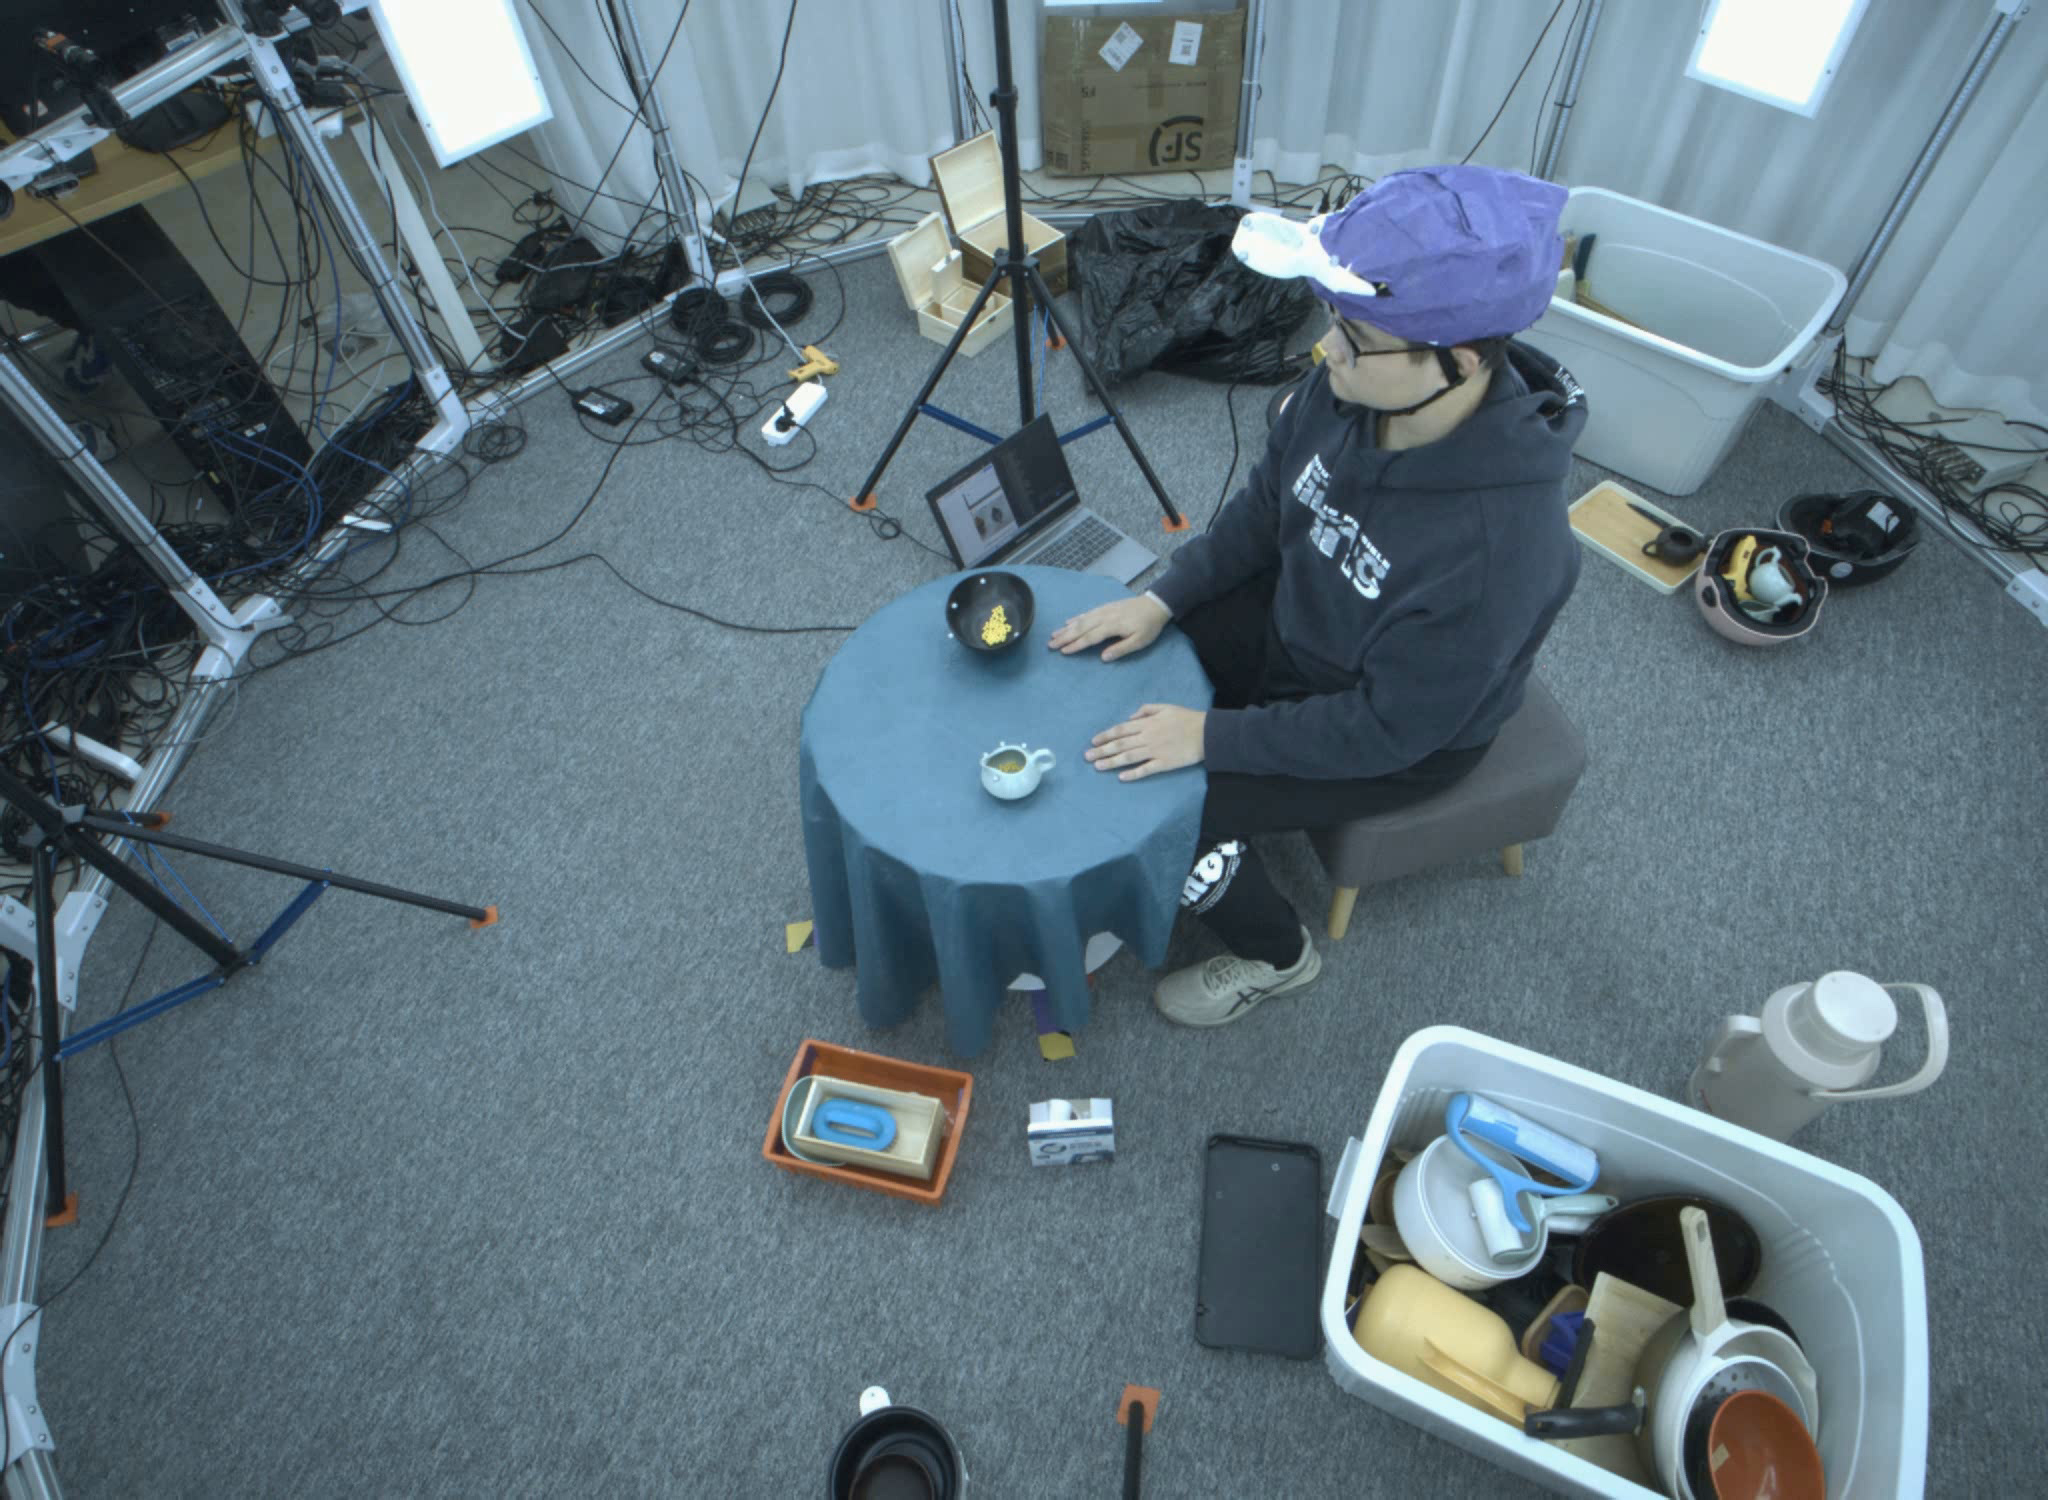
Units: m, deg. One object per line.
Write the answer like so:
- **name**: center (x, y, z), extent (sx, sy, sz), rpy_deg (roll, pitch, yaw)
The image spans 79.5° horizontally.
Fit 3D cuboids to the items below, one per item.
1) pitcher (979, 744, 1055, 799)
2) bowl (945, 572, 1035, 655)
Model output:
- **pitcher**: center (-0.009, 0.025, 1.736), extent (0.108, 0.061, 0.085), rpy_deg (-9, 56, -7)
- **bowl**: center (-0.051, -0.203, 1.894), extent (0.137, 0.067, 0.169), rpy_deg (3, 54, 3)
